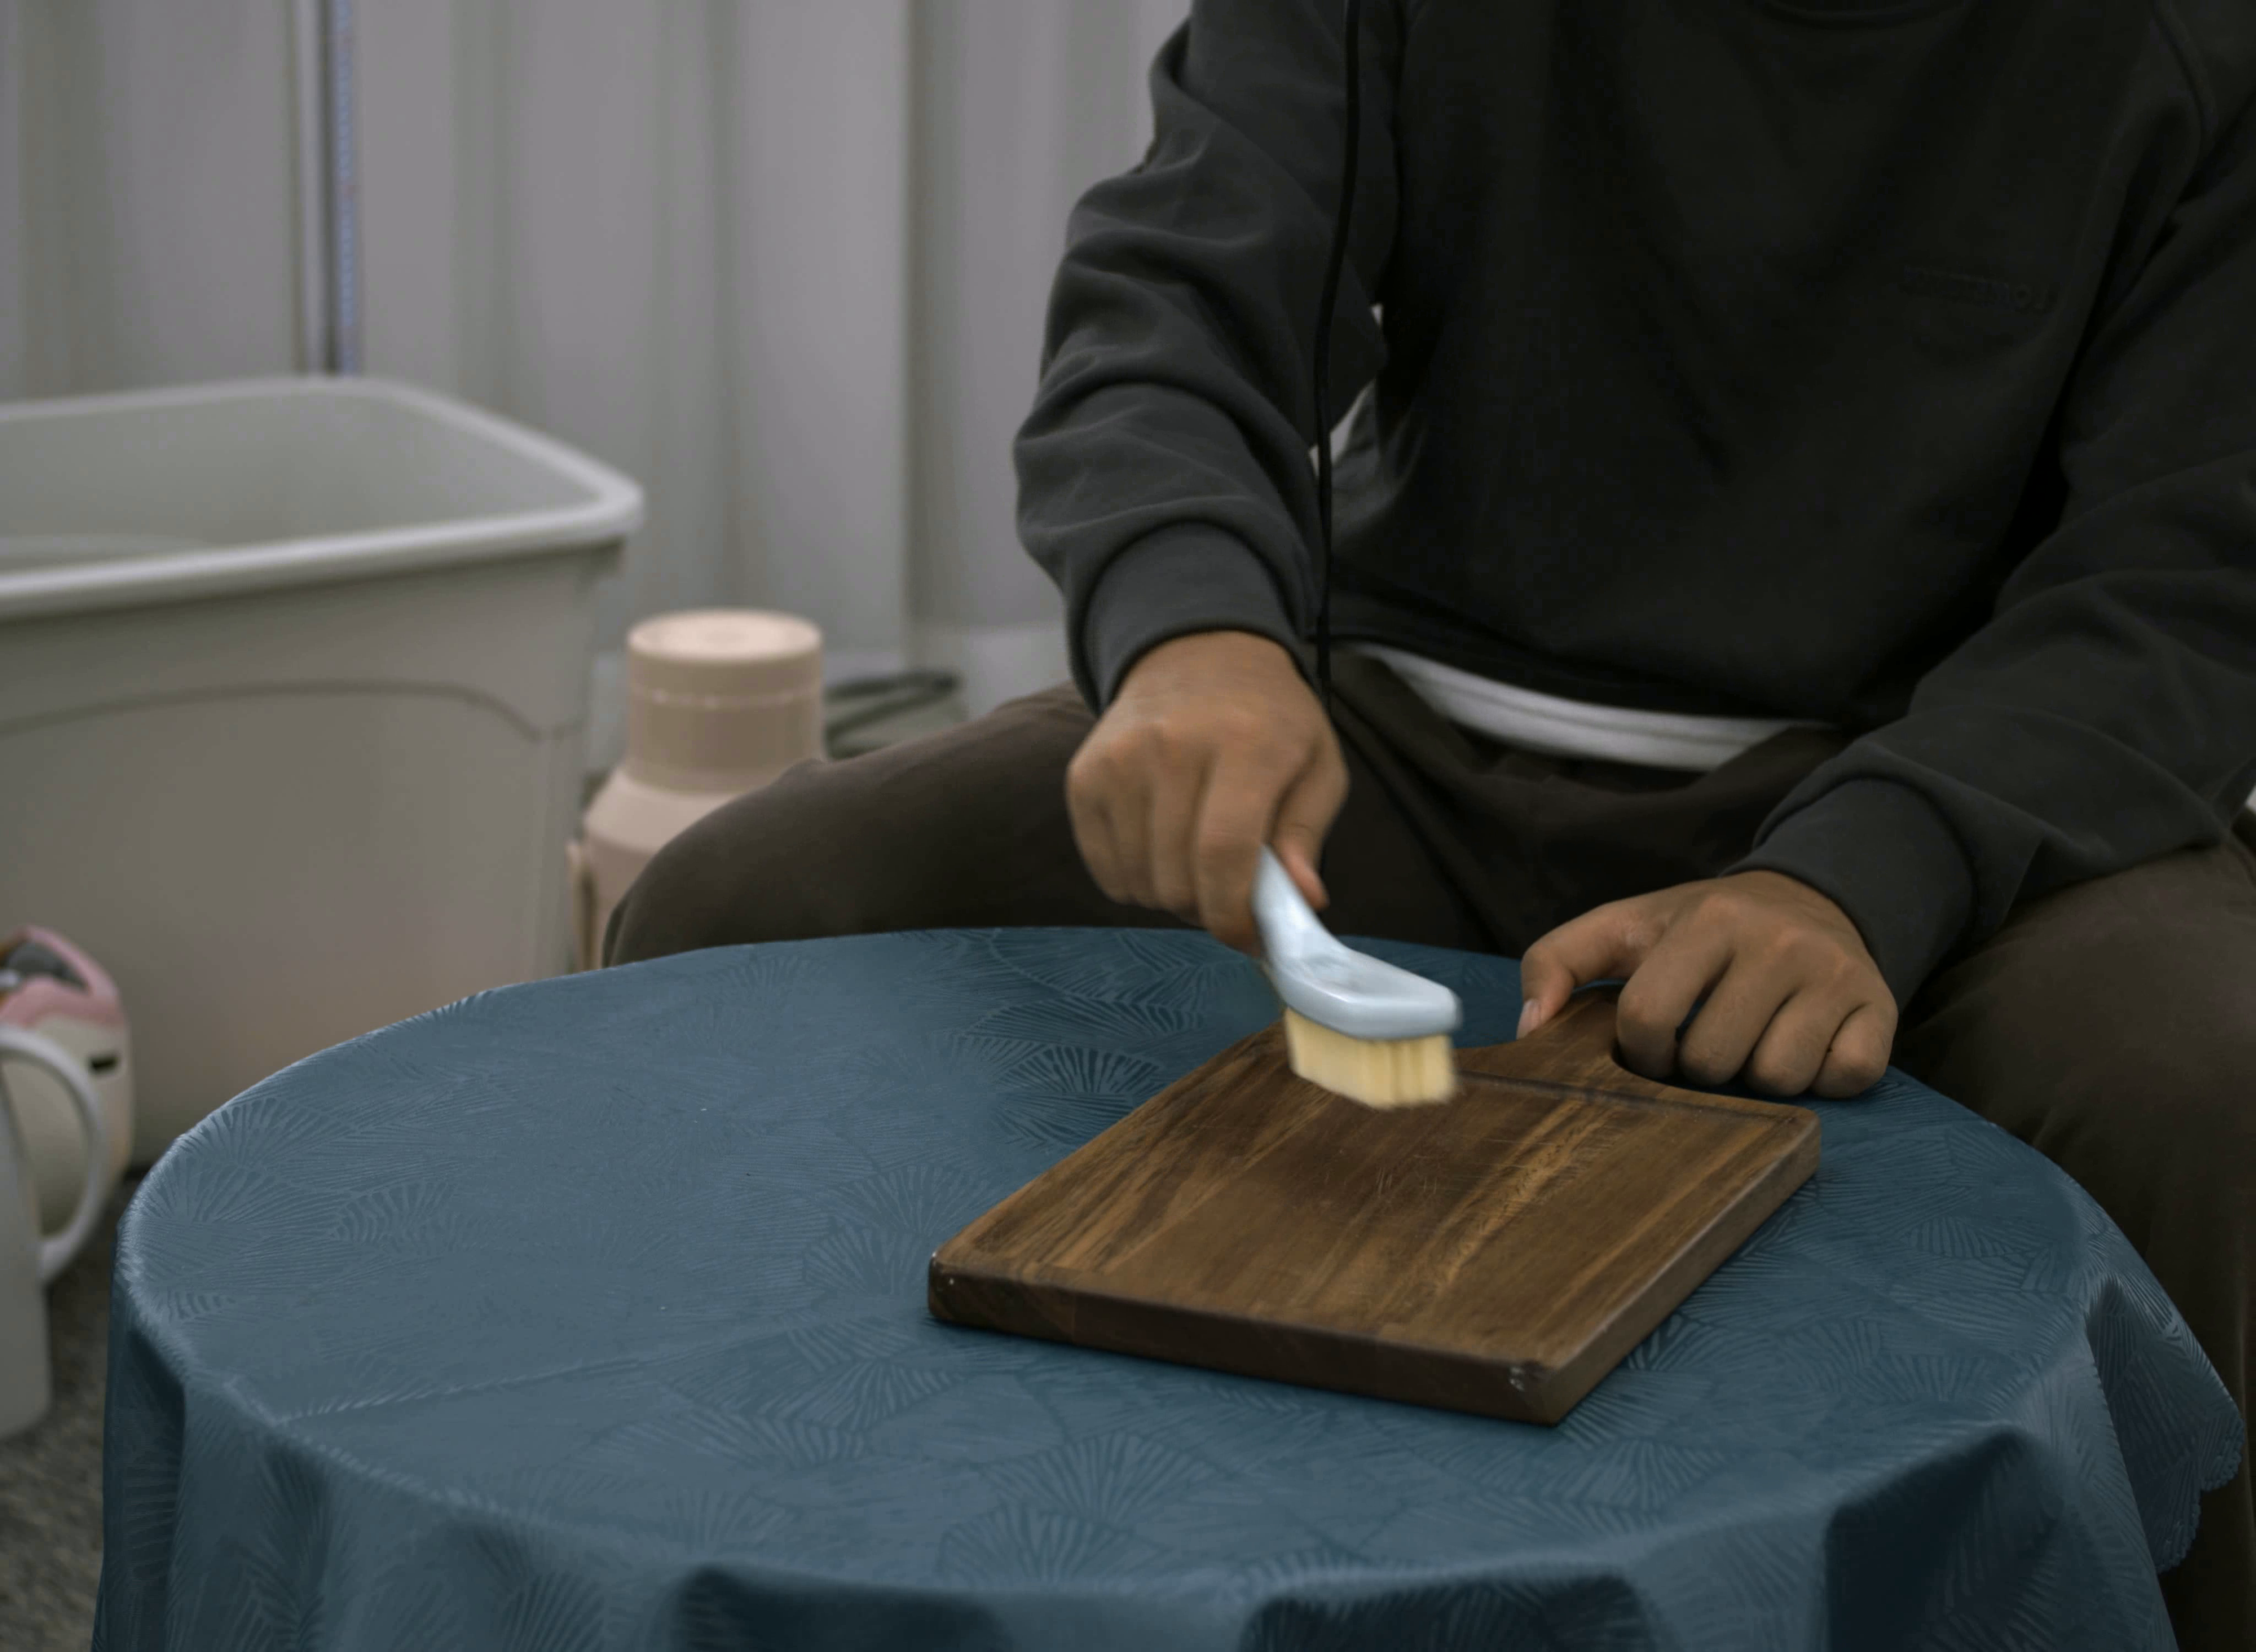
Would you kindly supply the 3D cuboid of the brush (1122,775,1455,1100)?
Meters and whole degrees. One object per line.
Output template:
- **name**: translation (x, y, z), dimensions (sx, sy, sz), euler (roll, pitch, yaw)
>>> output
- **brush**: translation (0.045, 0.034, 1.646), dimensions (0.038, 0.050, 0.226), euler (-8, 23, -20)

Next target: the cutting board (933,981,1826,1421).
- **cutting board**: translation (0.102, 0.103, 1.626), dimensions (0.199, 0.023, 0.353), euler (8, 17, 23)
